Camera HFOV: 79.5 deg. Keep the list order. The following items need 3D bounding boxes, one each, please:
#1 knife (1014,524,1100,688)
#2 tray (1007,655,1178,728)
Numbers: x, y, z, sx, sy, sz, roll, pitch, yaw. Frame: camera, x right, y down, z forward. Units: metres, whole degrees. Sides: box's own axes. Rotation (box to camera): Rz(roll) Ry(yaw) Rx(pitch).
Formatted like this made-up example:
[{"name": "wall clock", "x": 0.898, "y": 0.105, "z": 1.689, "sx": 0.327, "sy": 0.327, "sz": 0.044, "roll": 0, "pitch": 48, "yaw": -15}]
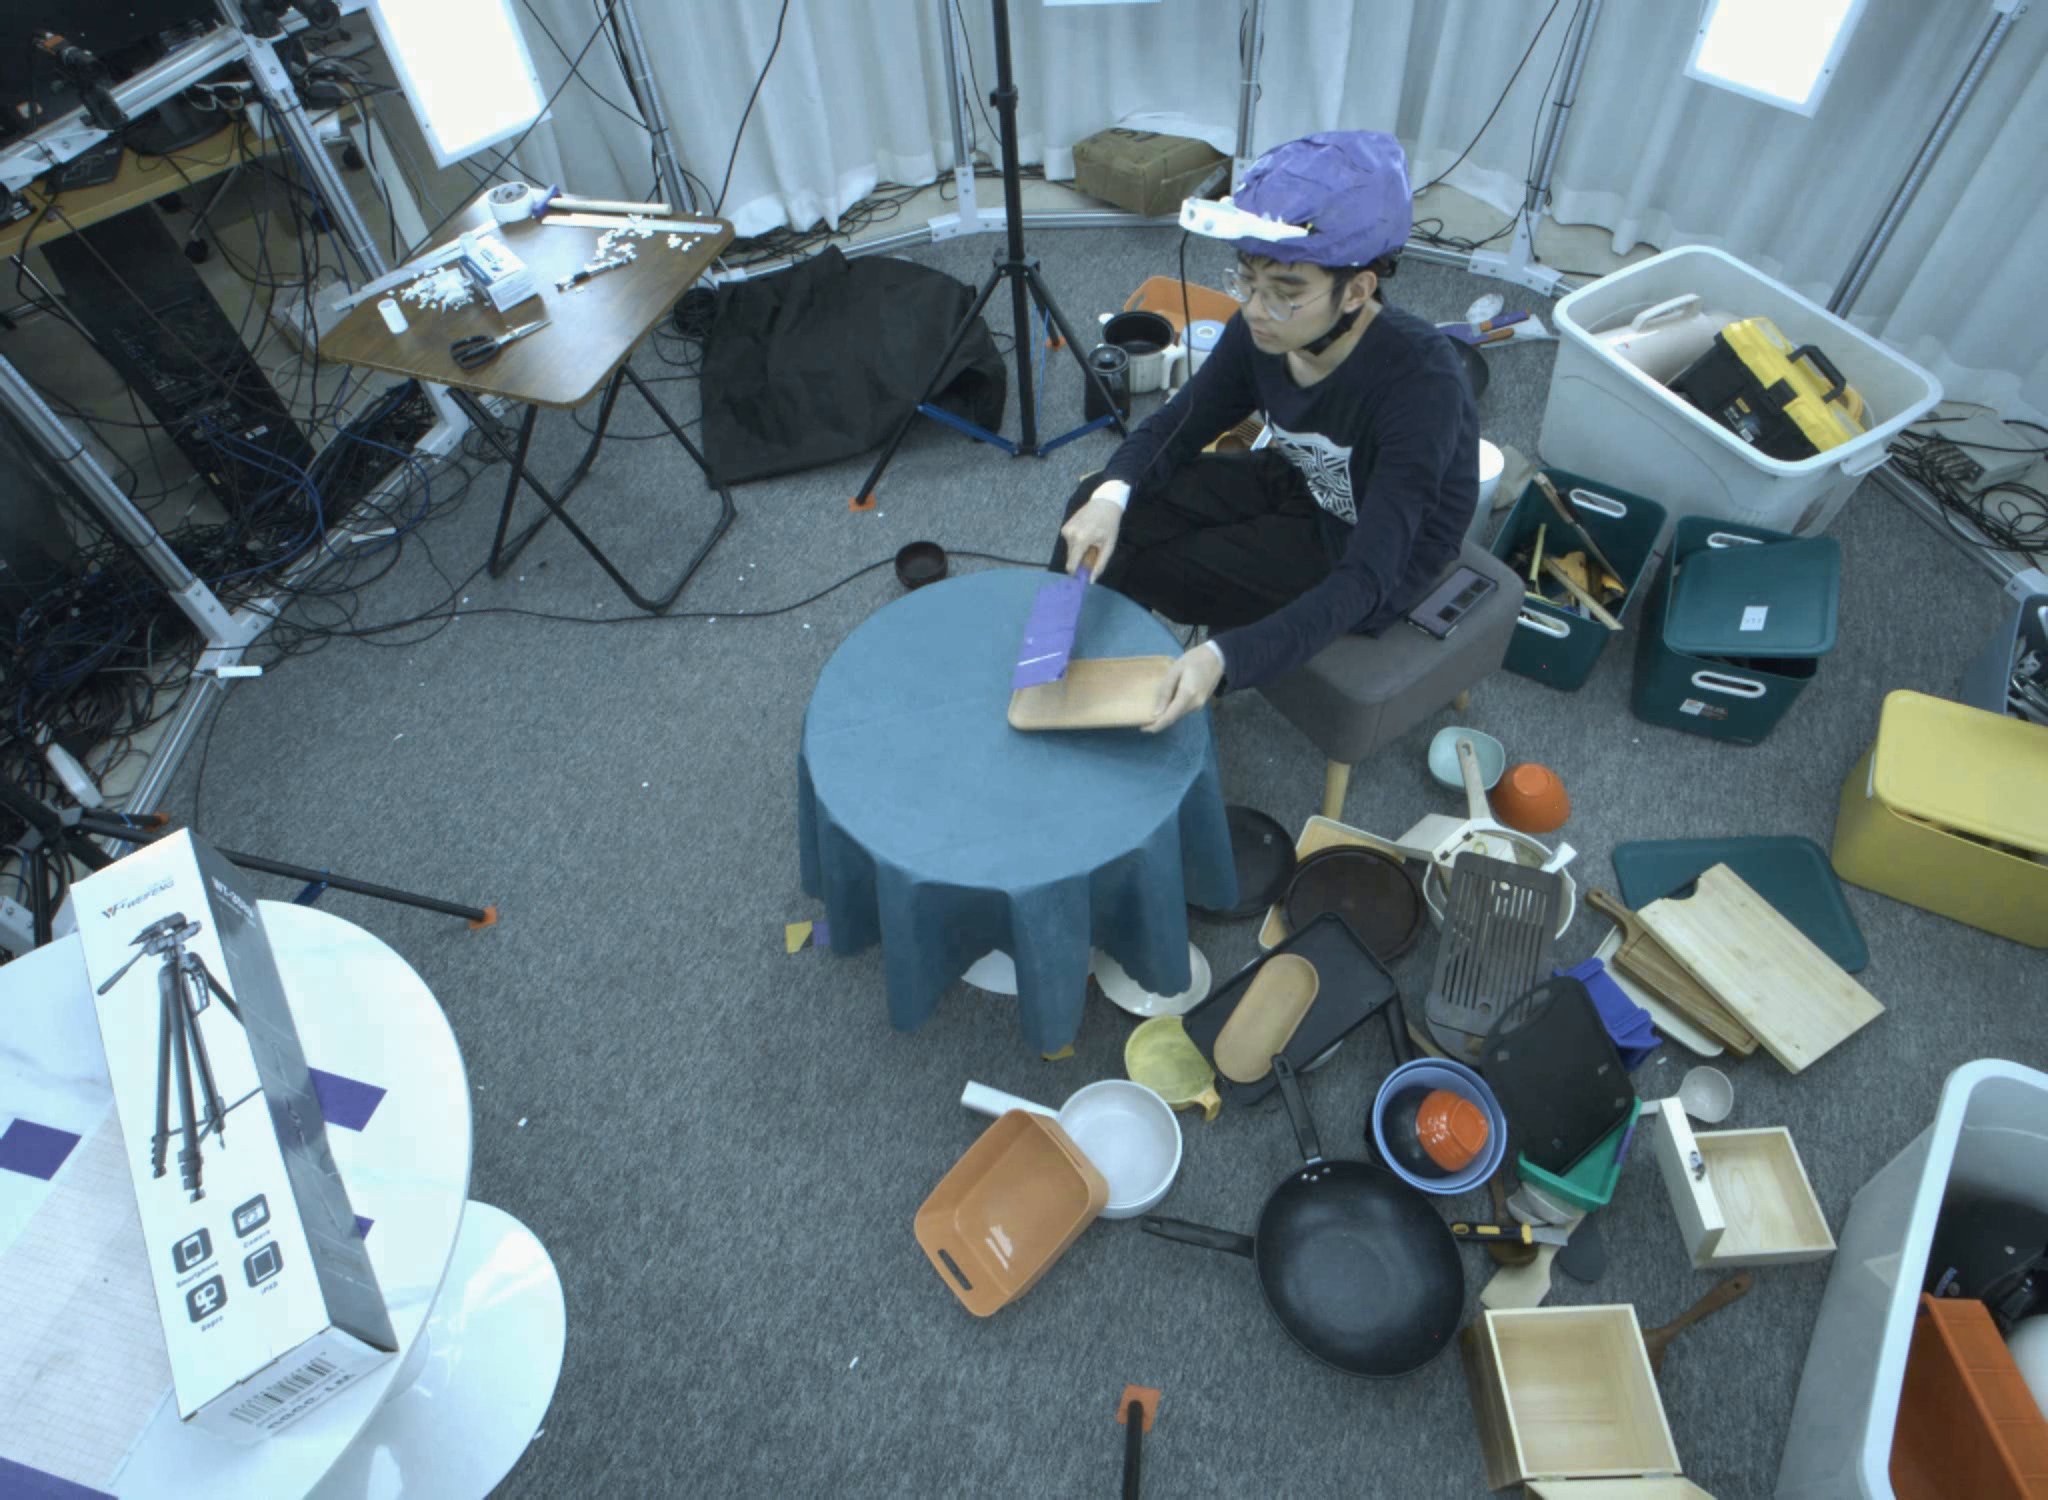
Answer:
[{"name": "knife", "x": 0.046, "y": -0.220, "z": 1.839, "sx": 0.102, "sy": 0.033, "sz": 0.313, "roll": -7, "pitch": 48, "yaw": 27}, {"name": "tray", "x": 0.100, "y": -0.084, "z": 1.800, "sx": 0.246, "sy": 0.023, "sz": 0.130, "roll": 0, "pitch": 50, "yaw": 25}]
